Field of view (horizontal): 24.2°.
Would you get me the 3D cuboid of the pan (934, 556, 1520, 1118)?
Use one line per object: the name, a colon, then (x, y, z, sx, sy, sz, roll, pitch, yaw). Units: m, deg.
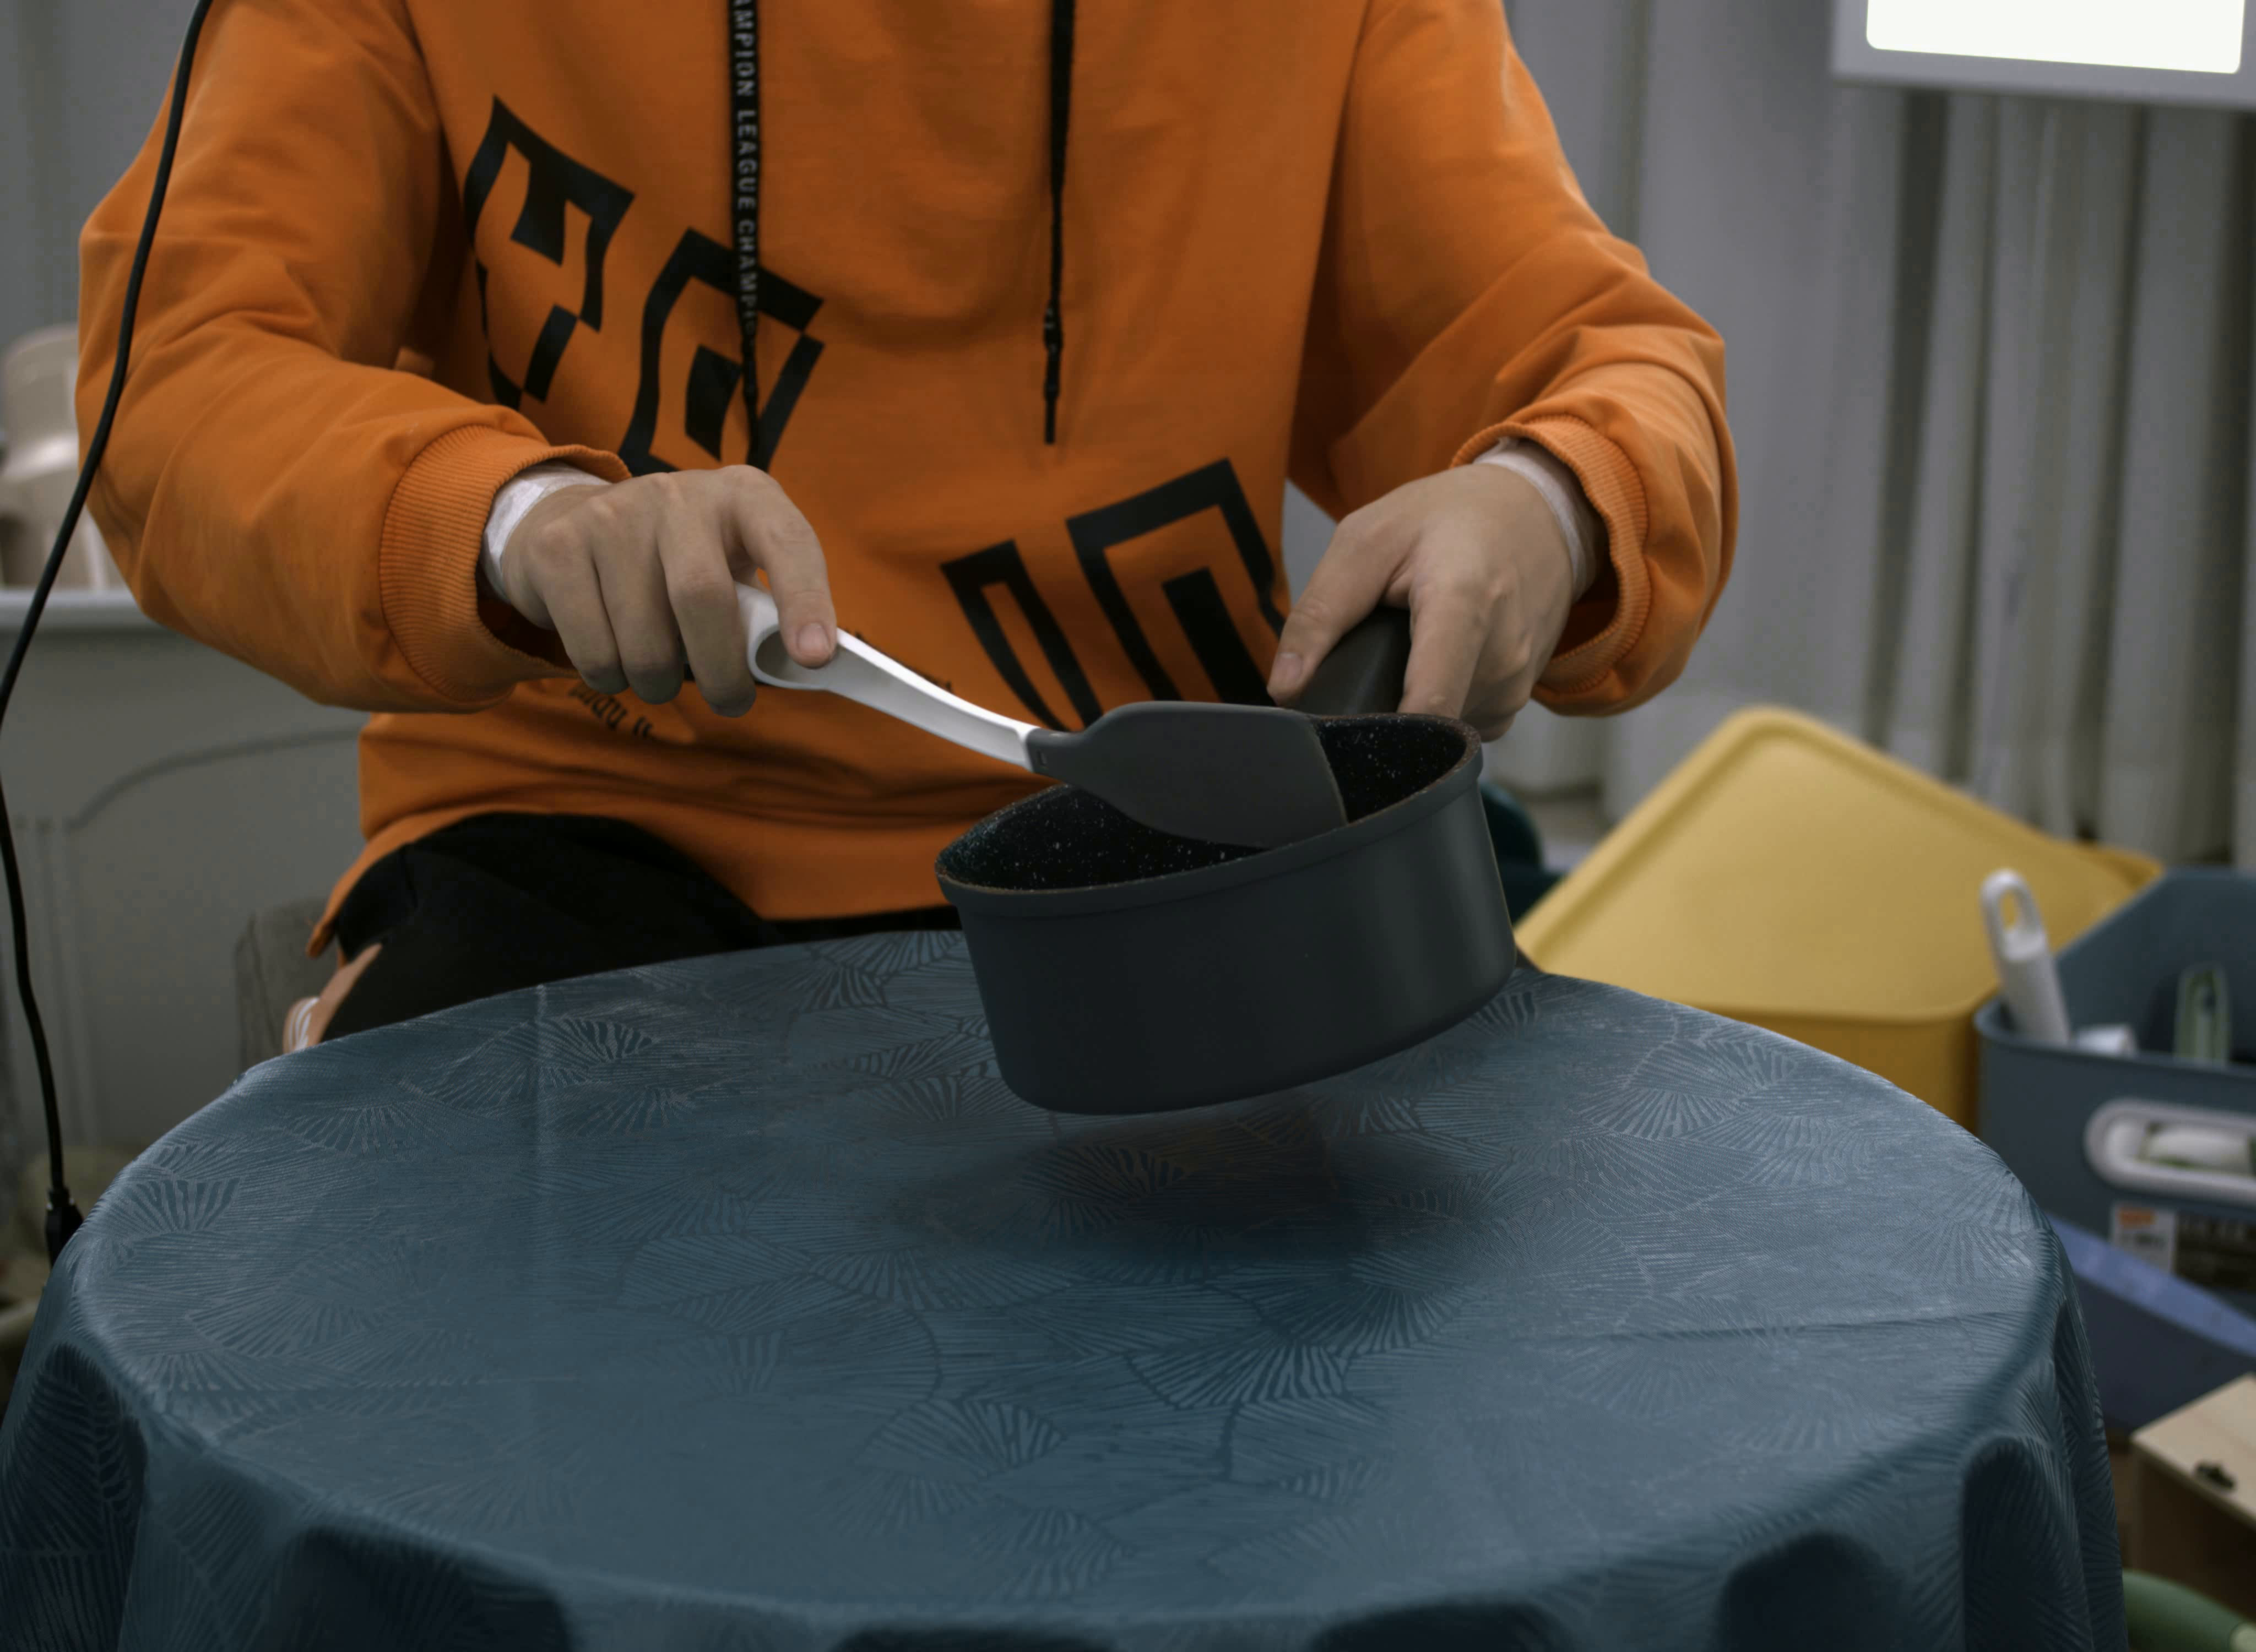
pan: (0.058, 0.000, 1.677, 0.170, 0.087, 0.328, -7, 16, 23)

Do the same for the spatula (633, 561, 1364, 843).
spatula: (-0.045, -0.040, 1.632, 0.284, 0.059, 0.032, 16, 40, 38)
